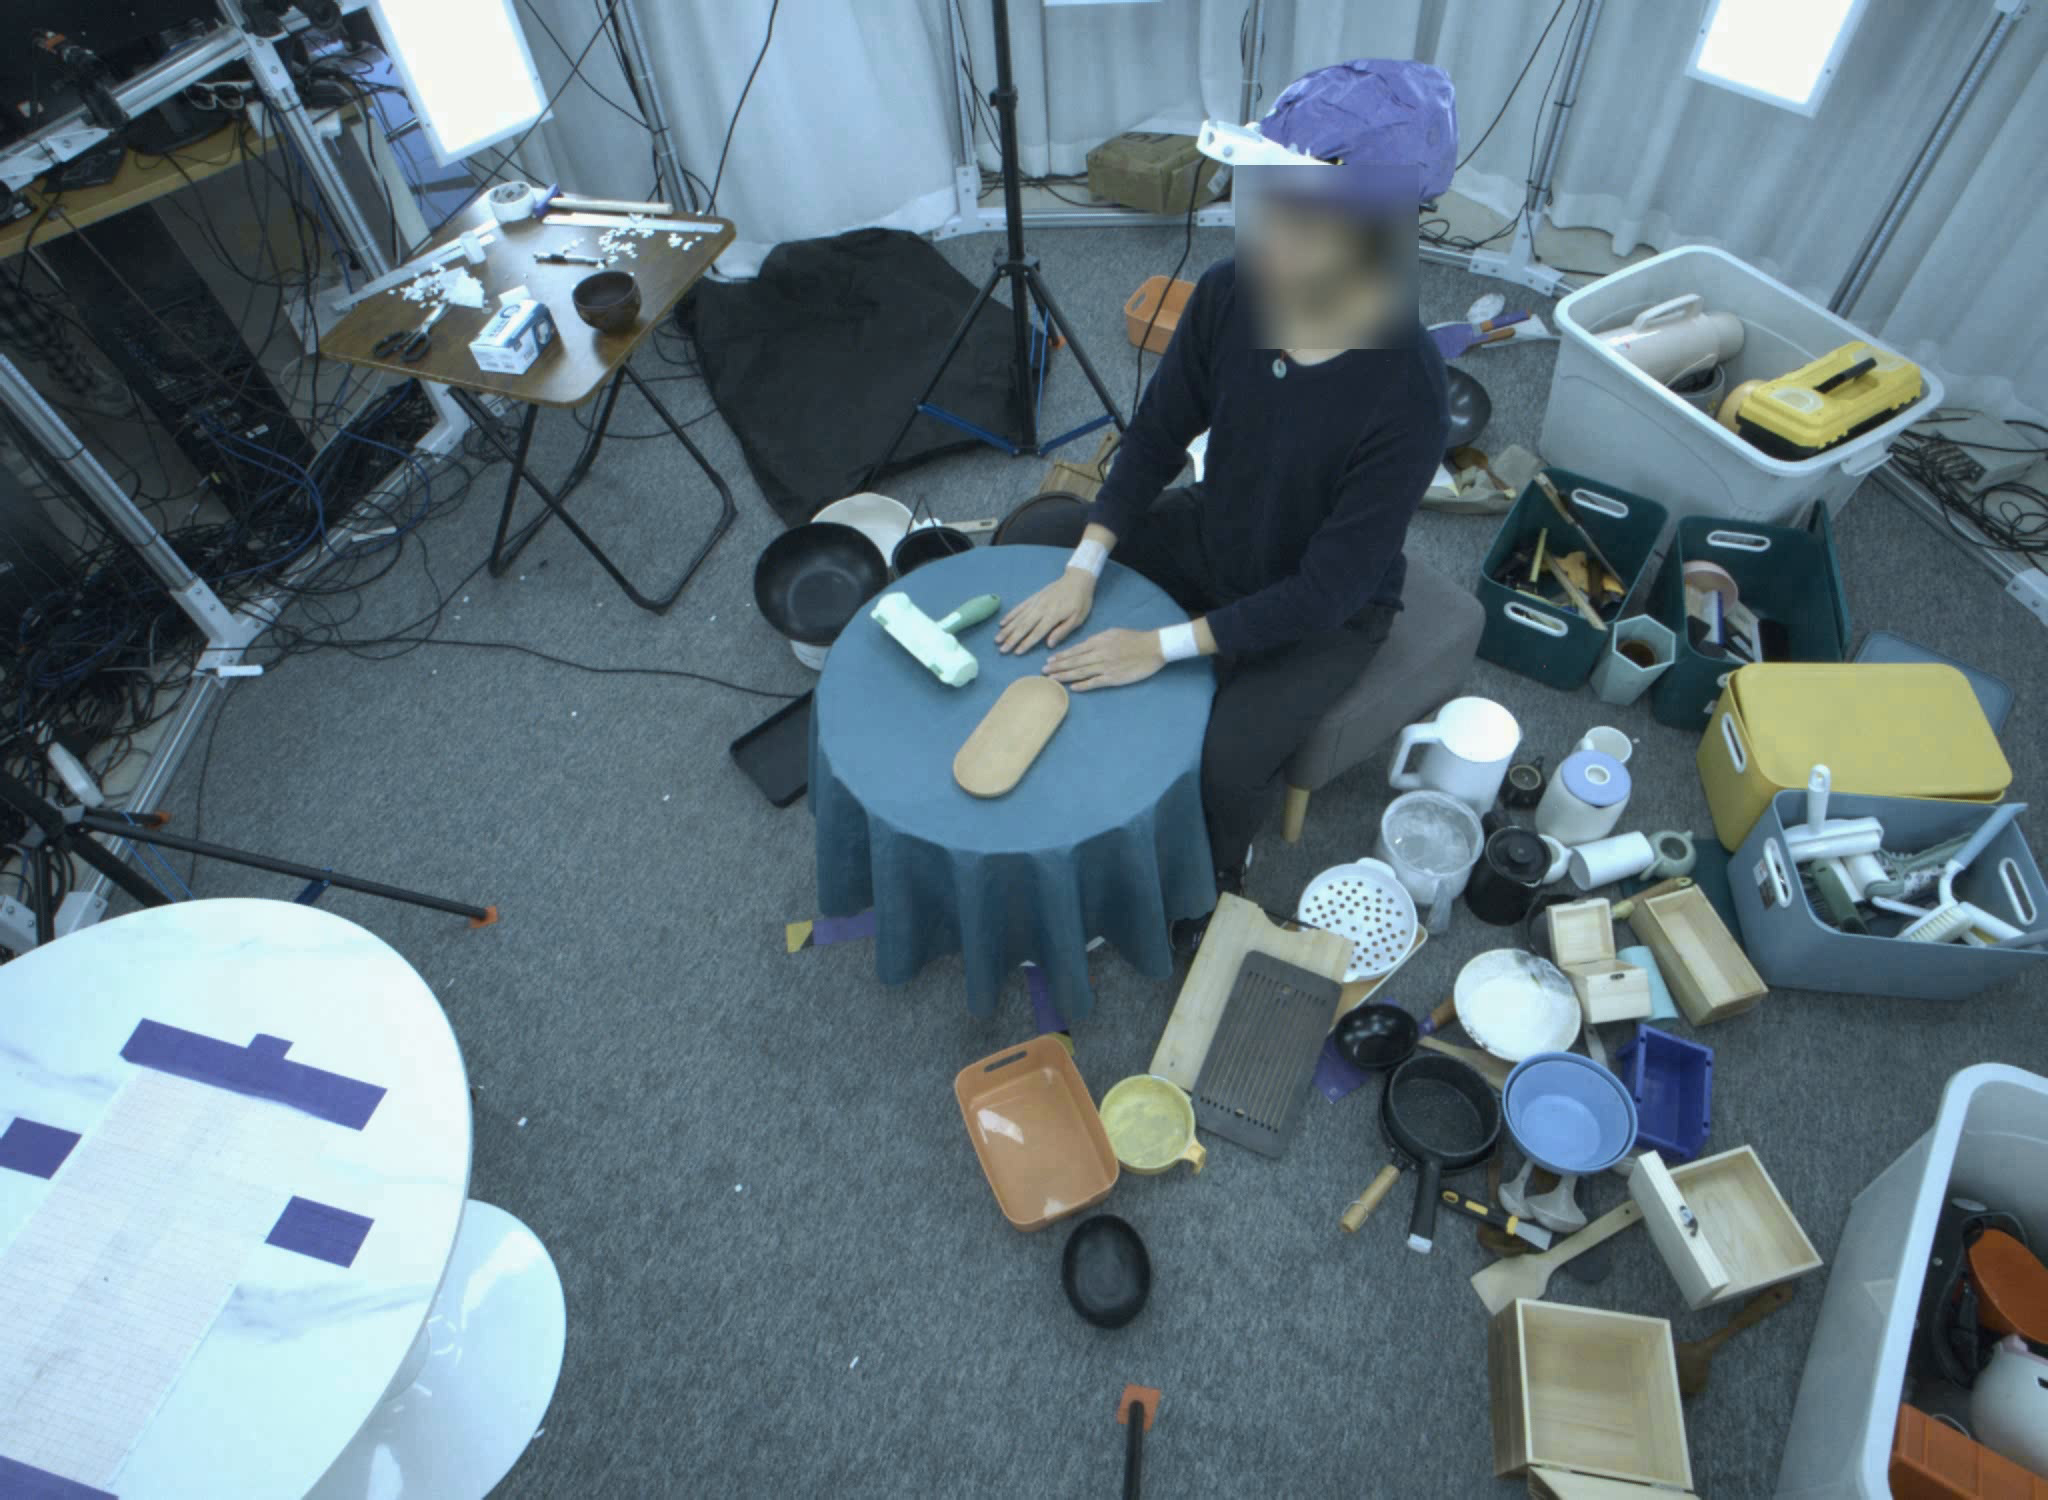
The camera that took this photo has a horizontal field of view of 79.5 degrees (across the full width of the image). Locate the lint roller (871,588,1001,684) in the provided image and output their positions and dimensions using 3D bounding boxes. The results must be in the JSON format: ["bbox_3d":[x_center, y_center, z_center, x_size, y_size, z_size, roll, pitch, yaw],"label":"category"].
[{"bbox_3d":[-0.111,-0.211,1.887,0.184,0.083,0.195,-40,63,-16],"label":"lint roller"}]

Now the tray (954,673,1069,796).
[{"bbox_3d":[-0.017,-0.024,1.795,0.100,0.020,0.232,25,58,18],"label":"tray"}]
